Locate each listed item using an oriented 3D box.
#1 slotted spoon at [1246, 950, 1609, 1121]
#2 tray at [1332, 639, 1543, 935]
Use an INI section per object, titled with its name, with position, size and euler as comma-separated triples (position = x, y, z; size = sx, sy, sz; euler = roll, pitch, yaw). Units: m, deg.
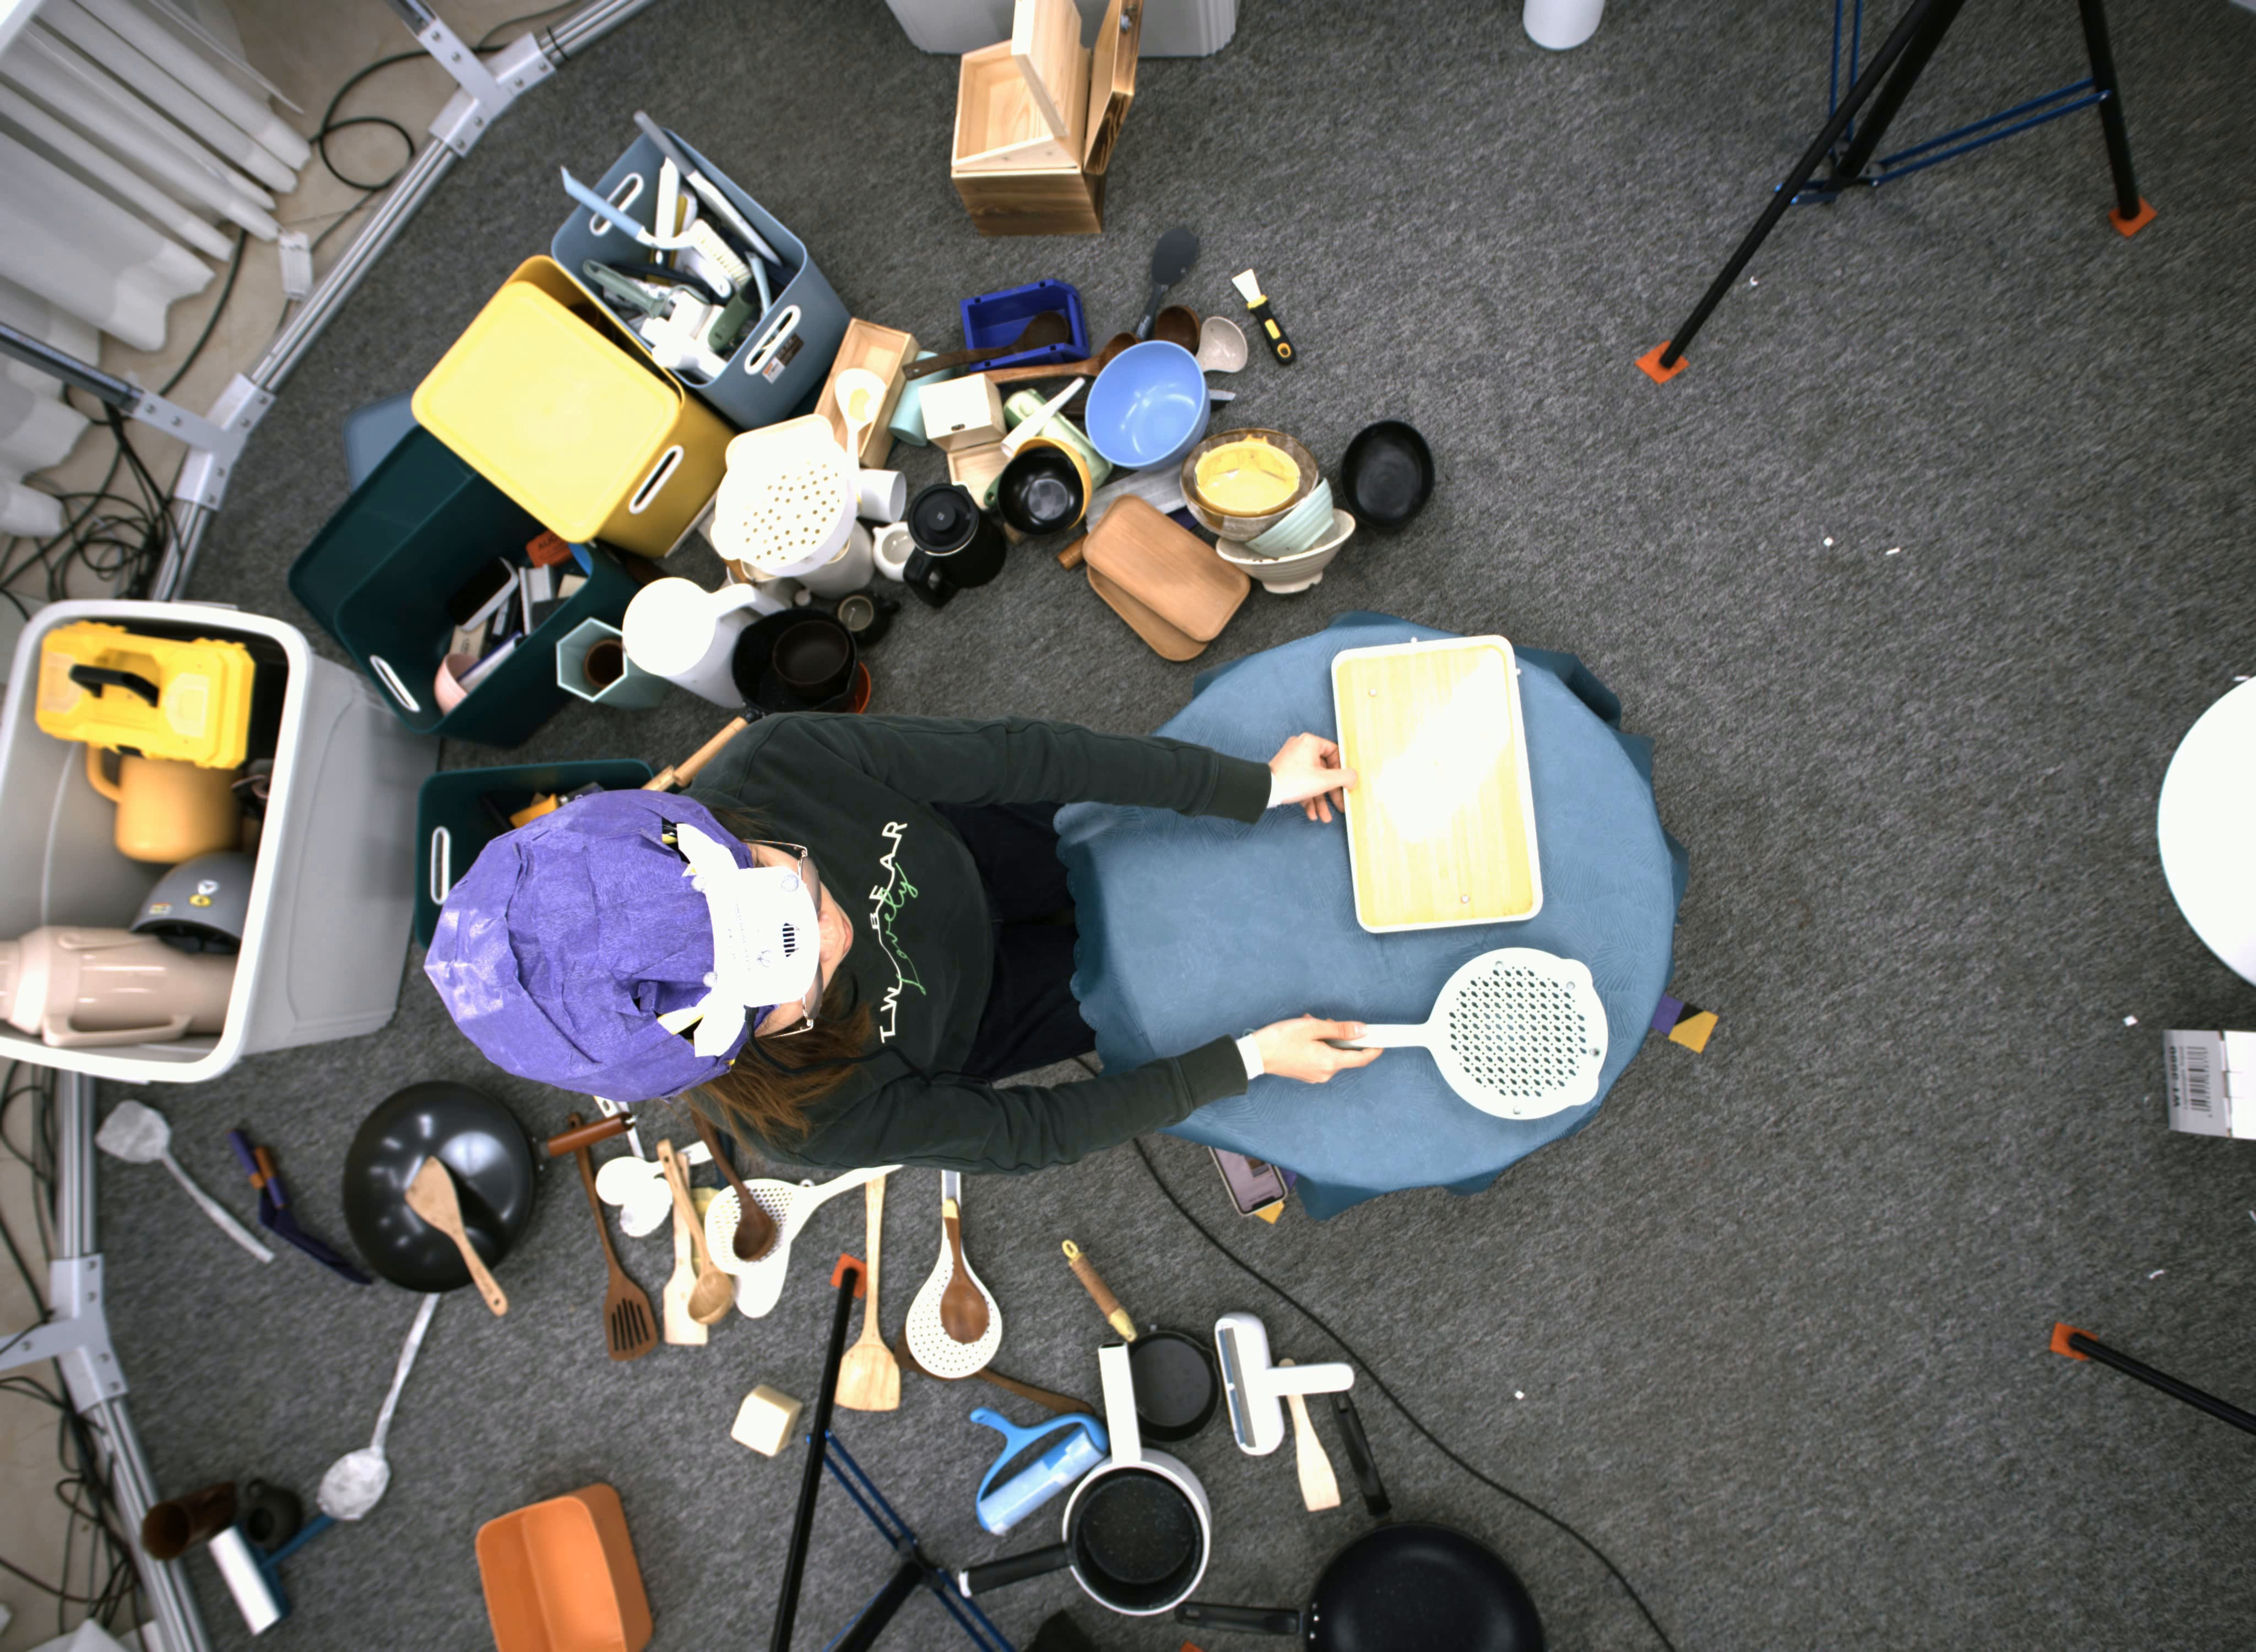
[slotted spoon]
position = 0.300, 0.213, 1.412
size = 0.360, 0.075, 0.168
euler = -2, 83, 7
[tray]
position = 0.323, -0.043, 1.444
size = 0.192, 0.027, 0.298
euler = -5, 85, 7
